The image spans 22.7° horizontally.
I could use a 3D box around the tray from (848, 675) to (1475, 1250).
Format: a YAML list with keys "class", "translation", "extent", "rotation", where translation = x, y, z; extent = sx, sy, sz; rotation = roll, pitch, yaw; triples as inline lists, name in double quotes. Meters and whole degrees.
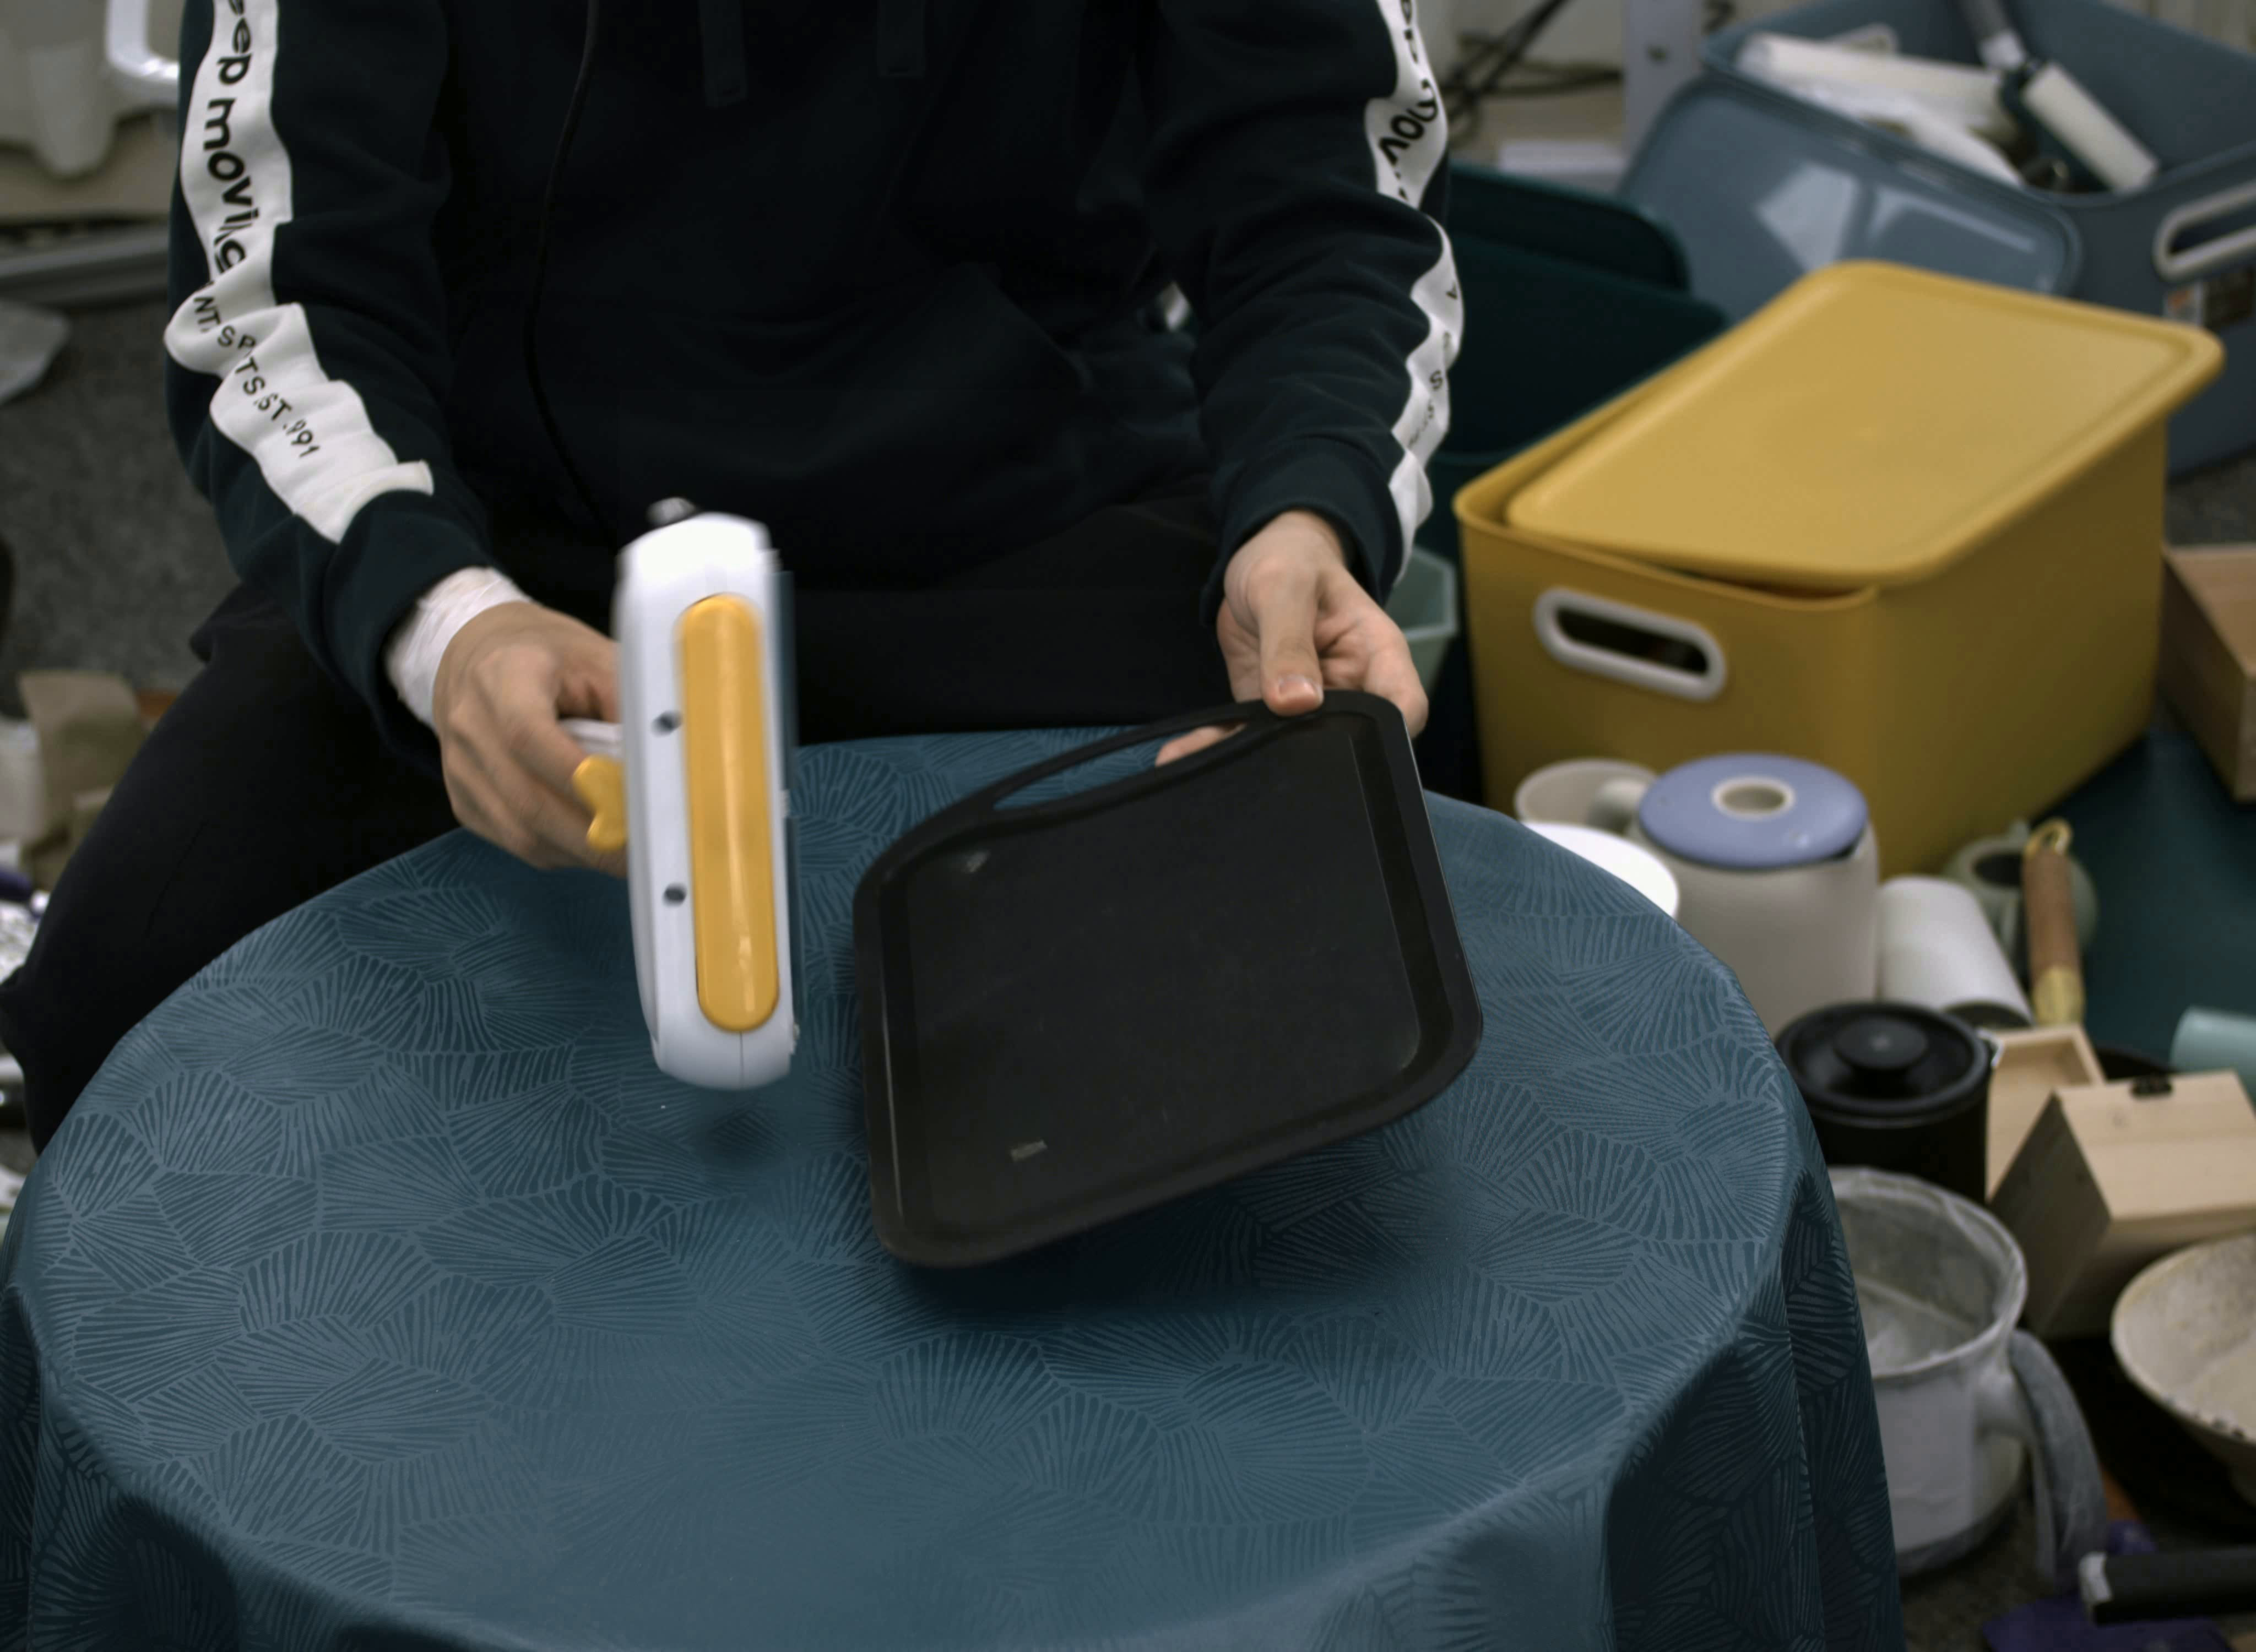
- class: "tray"
  translation: [0.004, 0.037, 1.912]
  extent: [0.210, 0.010, 0.330]
  rotation: [-19, 27, 5]

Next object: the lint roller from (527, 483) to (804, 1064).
- class: "lint roller"
  translation: [-0.161, -0.018, 1.931]
  extent: [0.074, 0.193, 0.191]
  rotation: [-6, 2, -17]
